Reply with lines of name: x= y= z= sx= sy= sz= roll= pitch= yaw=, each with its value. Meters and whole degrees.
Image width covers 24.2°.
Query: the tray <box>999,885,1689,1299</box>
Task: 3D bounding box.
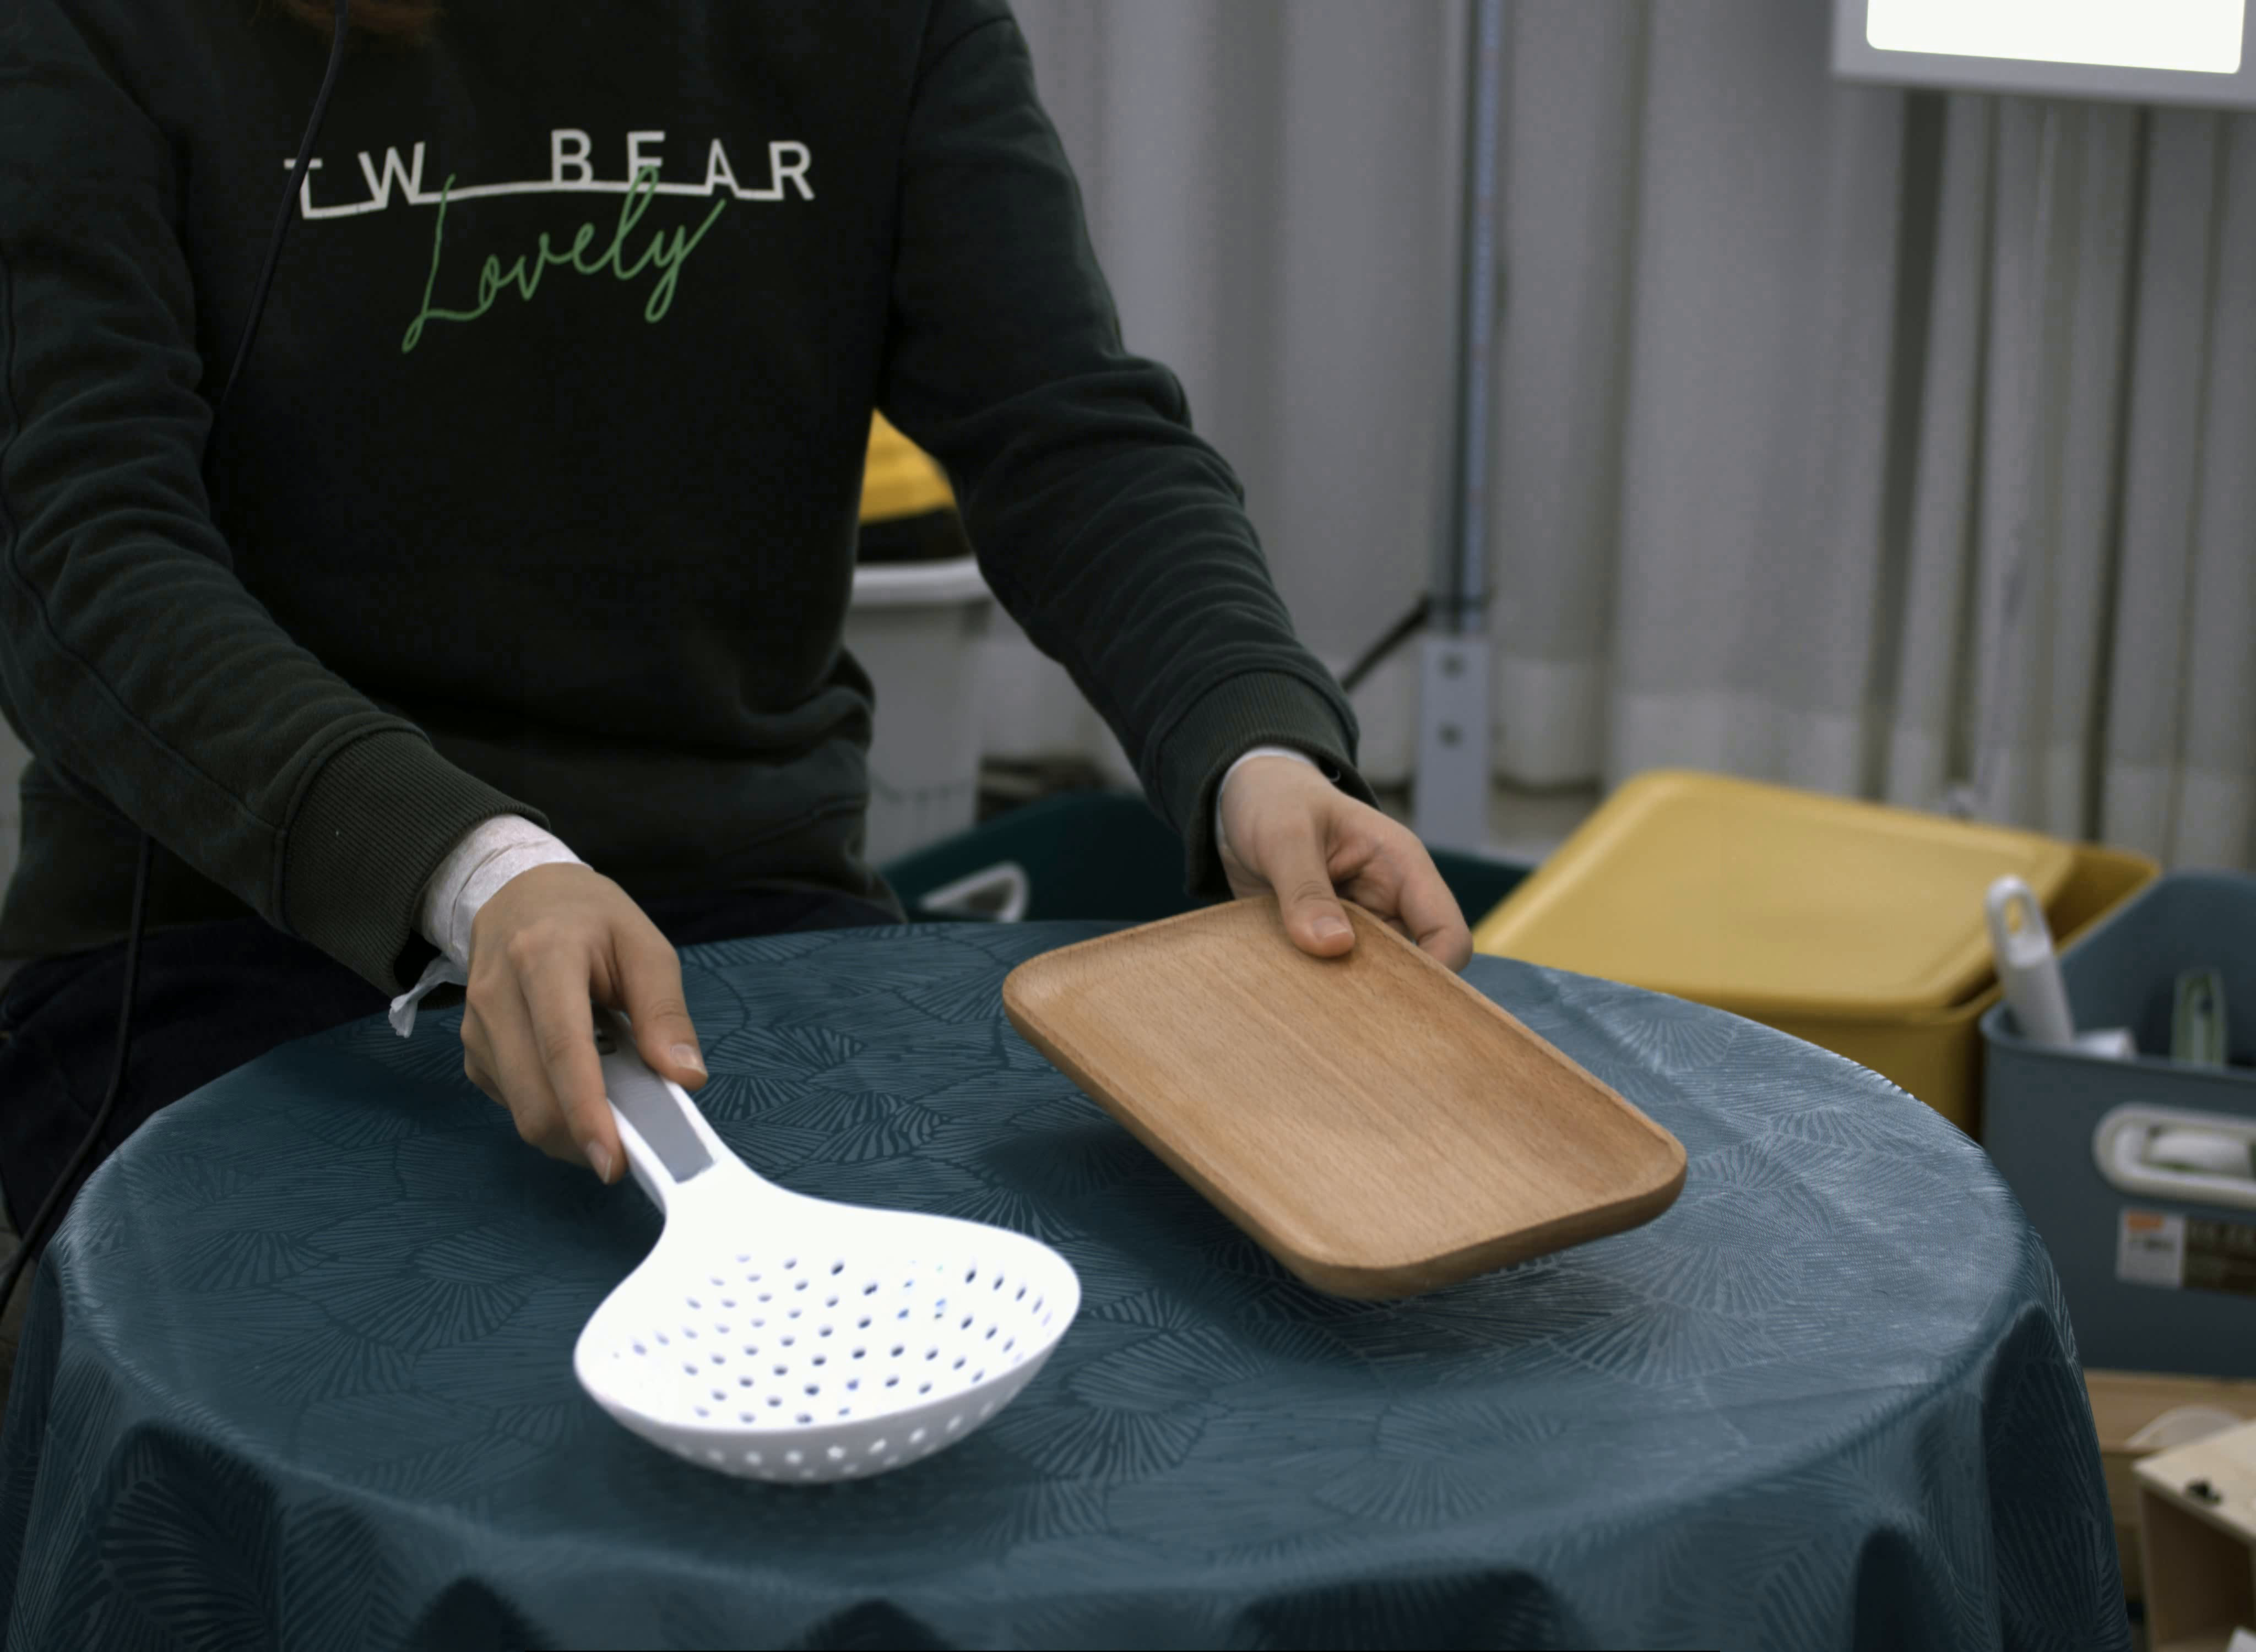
tray: x=0.061 y=0.077 z=1.595 sx=0.131 sy=0.023 sz=0.247 roll=-12 pitch=24 yaw=-23

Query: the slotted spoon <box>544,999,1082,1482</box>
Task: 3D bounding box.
slotted spoon: x=-0.115 y=0.109 z=1.501 sx=0.136 sy=0.046 sz=0.345 roll=-11 pitch=24 yaw=-17
